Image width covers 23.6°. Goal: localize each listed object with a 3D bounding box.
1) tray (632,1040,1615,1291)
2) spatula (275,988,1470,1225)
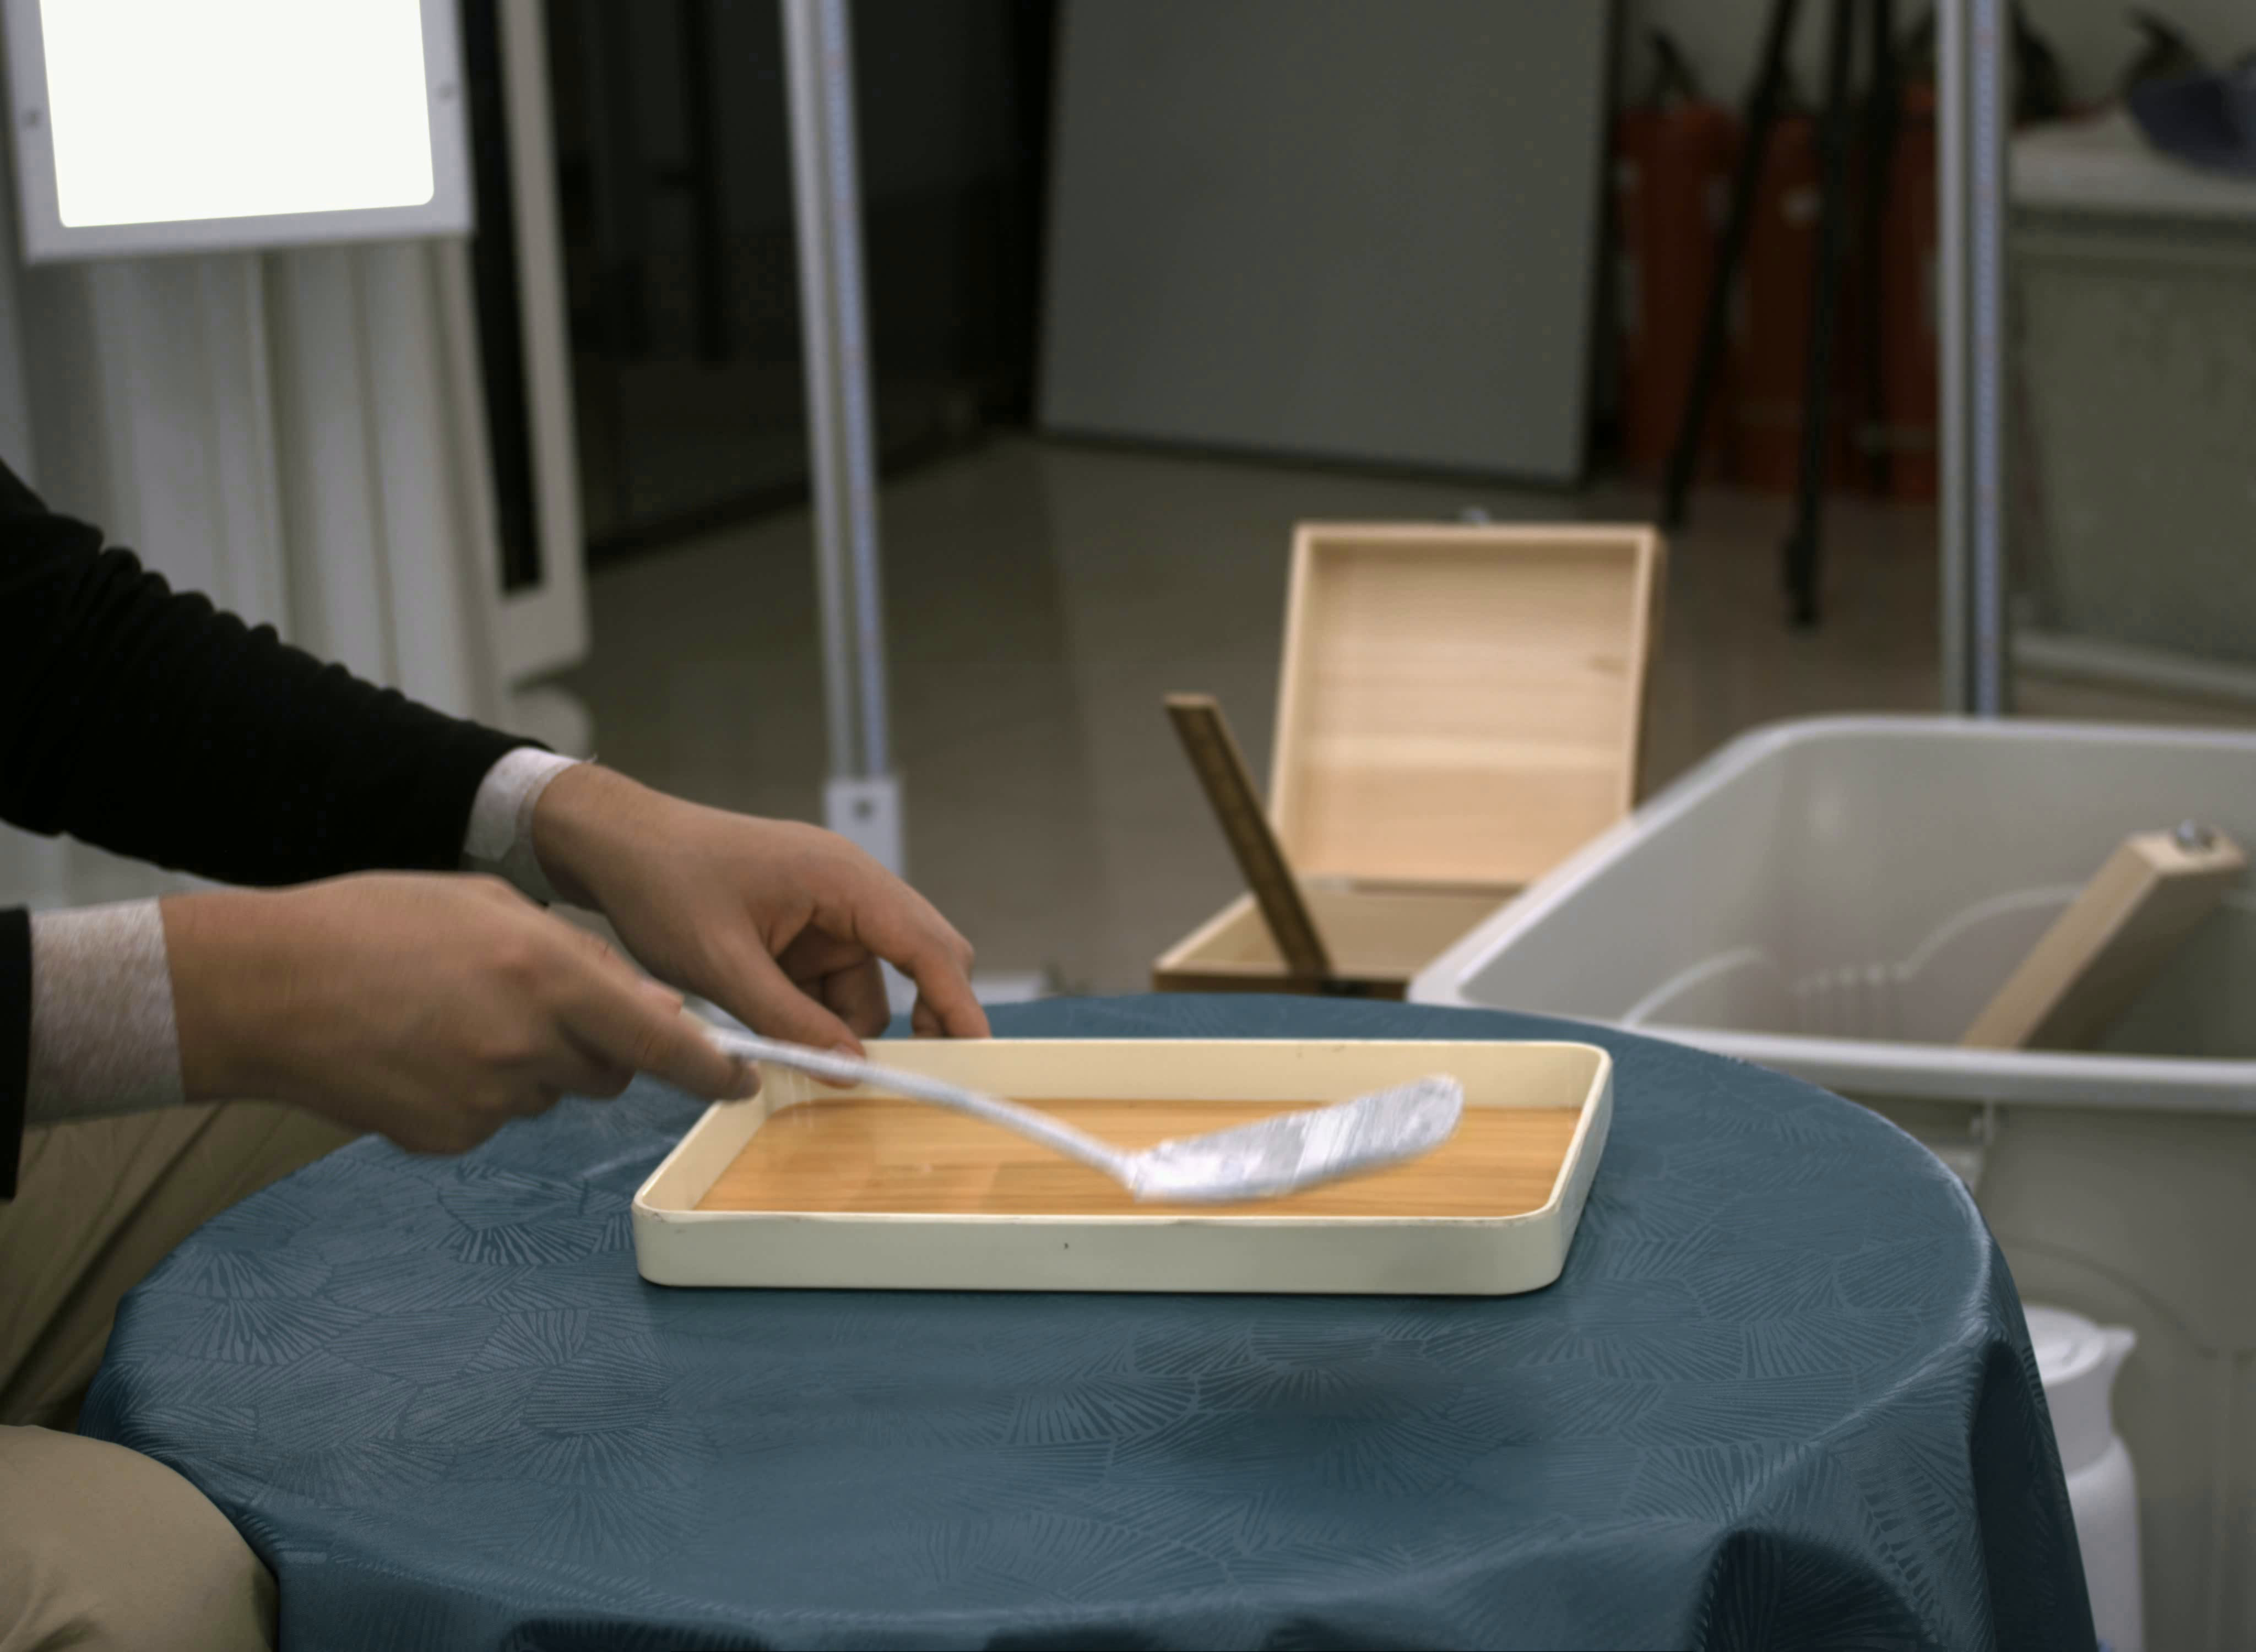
[{"bbox_3d":[0.003,0.110,1.757,0.298,0.028,0.190,-1,14,14],"label":"tray"},{"bbox_3d":[-0.081,0.072,1.586,0.362,0.045,0.098,12,15,9],"label":"spatula"}]
